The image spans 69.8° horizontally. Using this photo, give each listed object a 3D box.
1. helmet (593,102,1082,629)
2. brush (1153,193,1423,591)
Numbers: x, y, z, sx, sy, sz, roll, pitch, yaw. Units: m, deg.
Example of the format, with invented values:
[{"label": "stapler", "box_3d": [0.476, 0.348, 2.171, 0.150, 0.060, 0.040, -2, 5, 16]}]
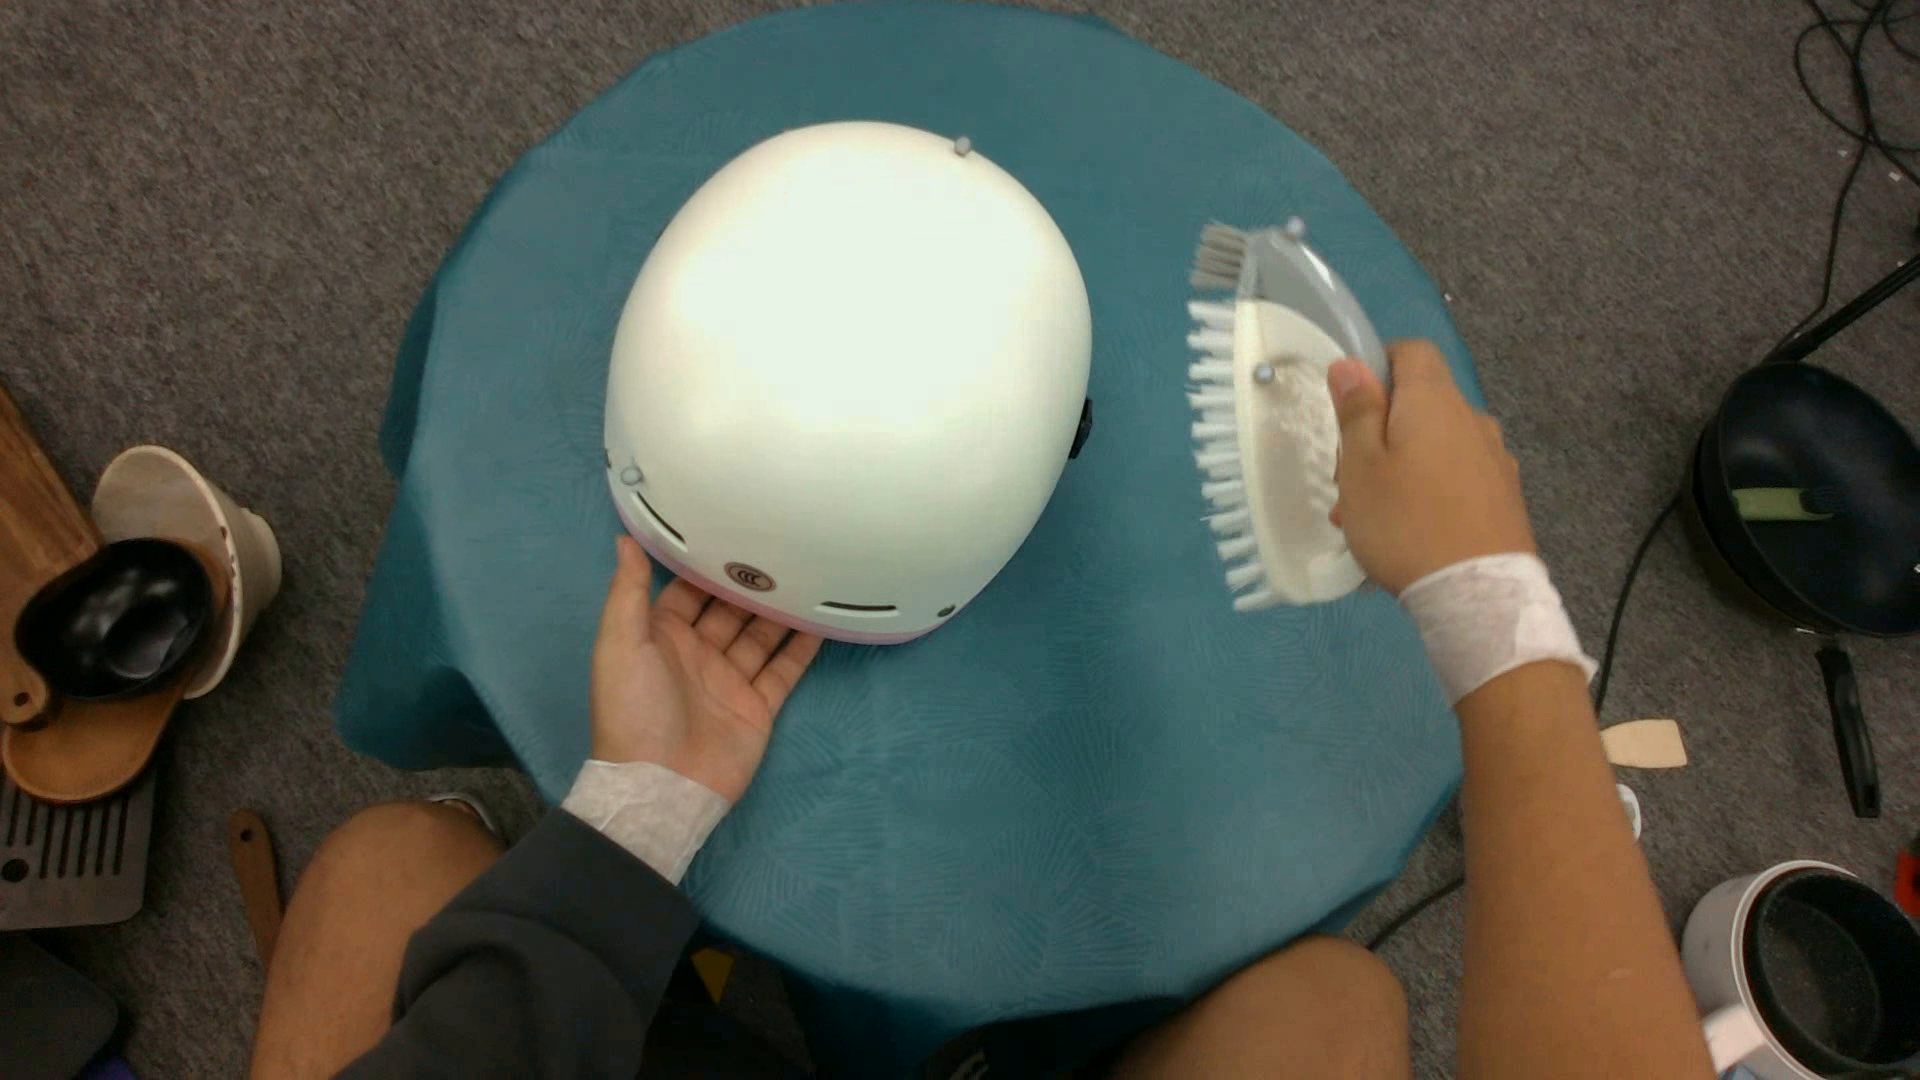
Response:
[{"label": "helmet", "box_3d": [-0.051, -0.105, 0.654, 0.237, 0.166, 0.270, 25, 64, -2]}, {"label": "brush", "box_3d": [0.139, -0.069, 0.581, 0.062, 0.094, 0.175, -20, 94, -40]}]
